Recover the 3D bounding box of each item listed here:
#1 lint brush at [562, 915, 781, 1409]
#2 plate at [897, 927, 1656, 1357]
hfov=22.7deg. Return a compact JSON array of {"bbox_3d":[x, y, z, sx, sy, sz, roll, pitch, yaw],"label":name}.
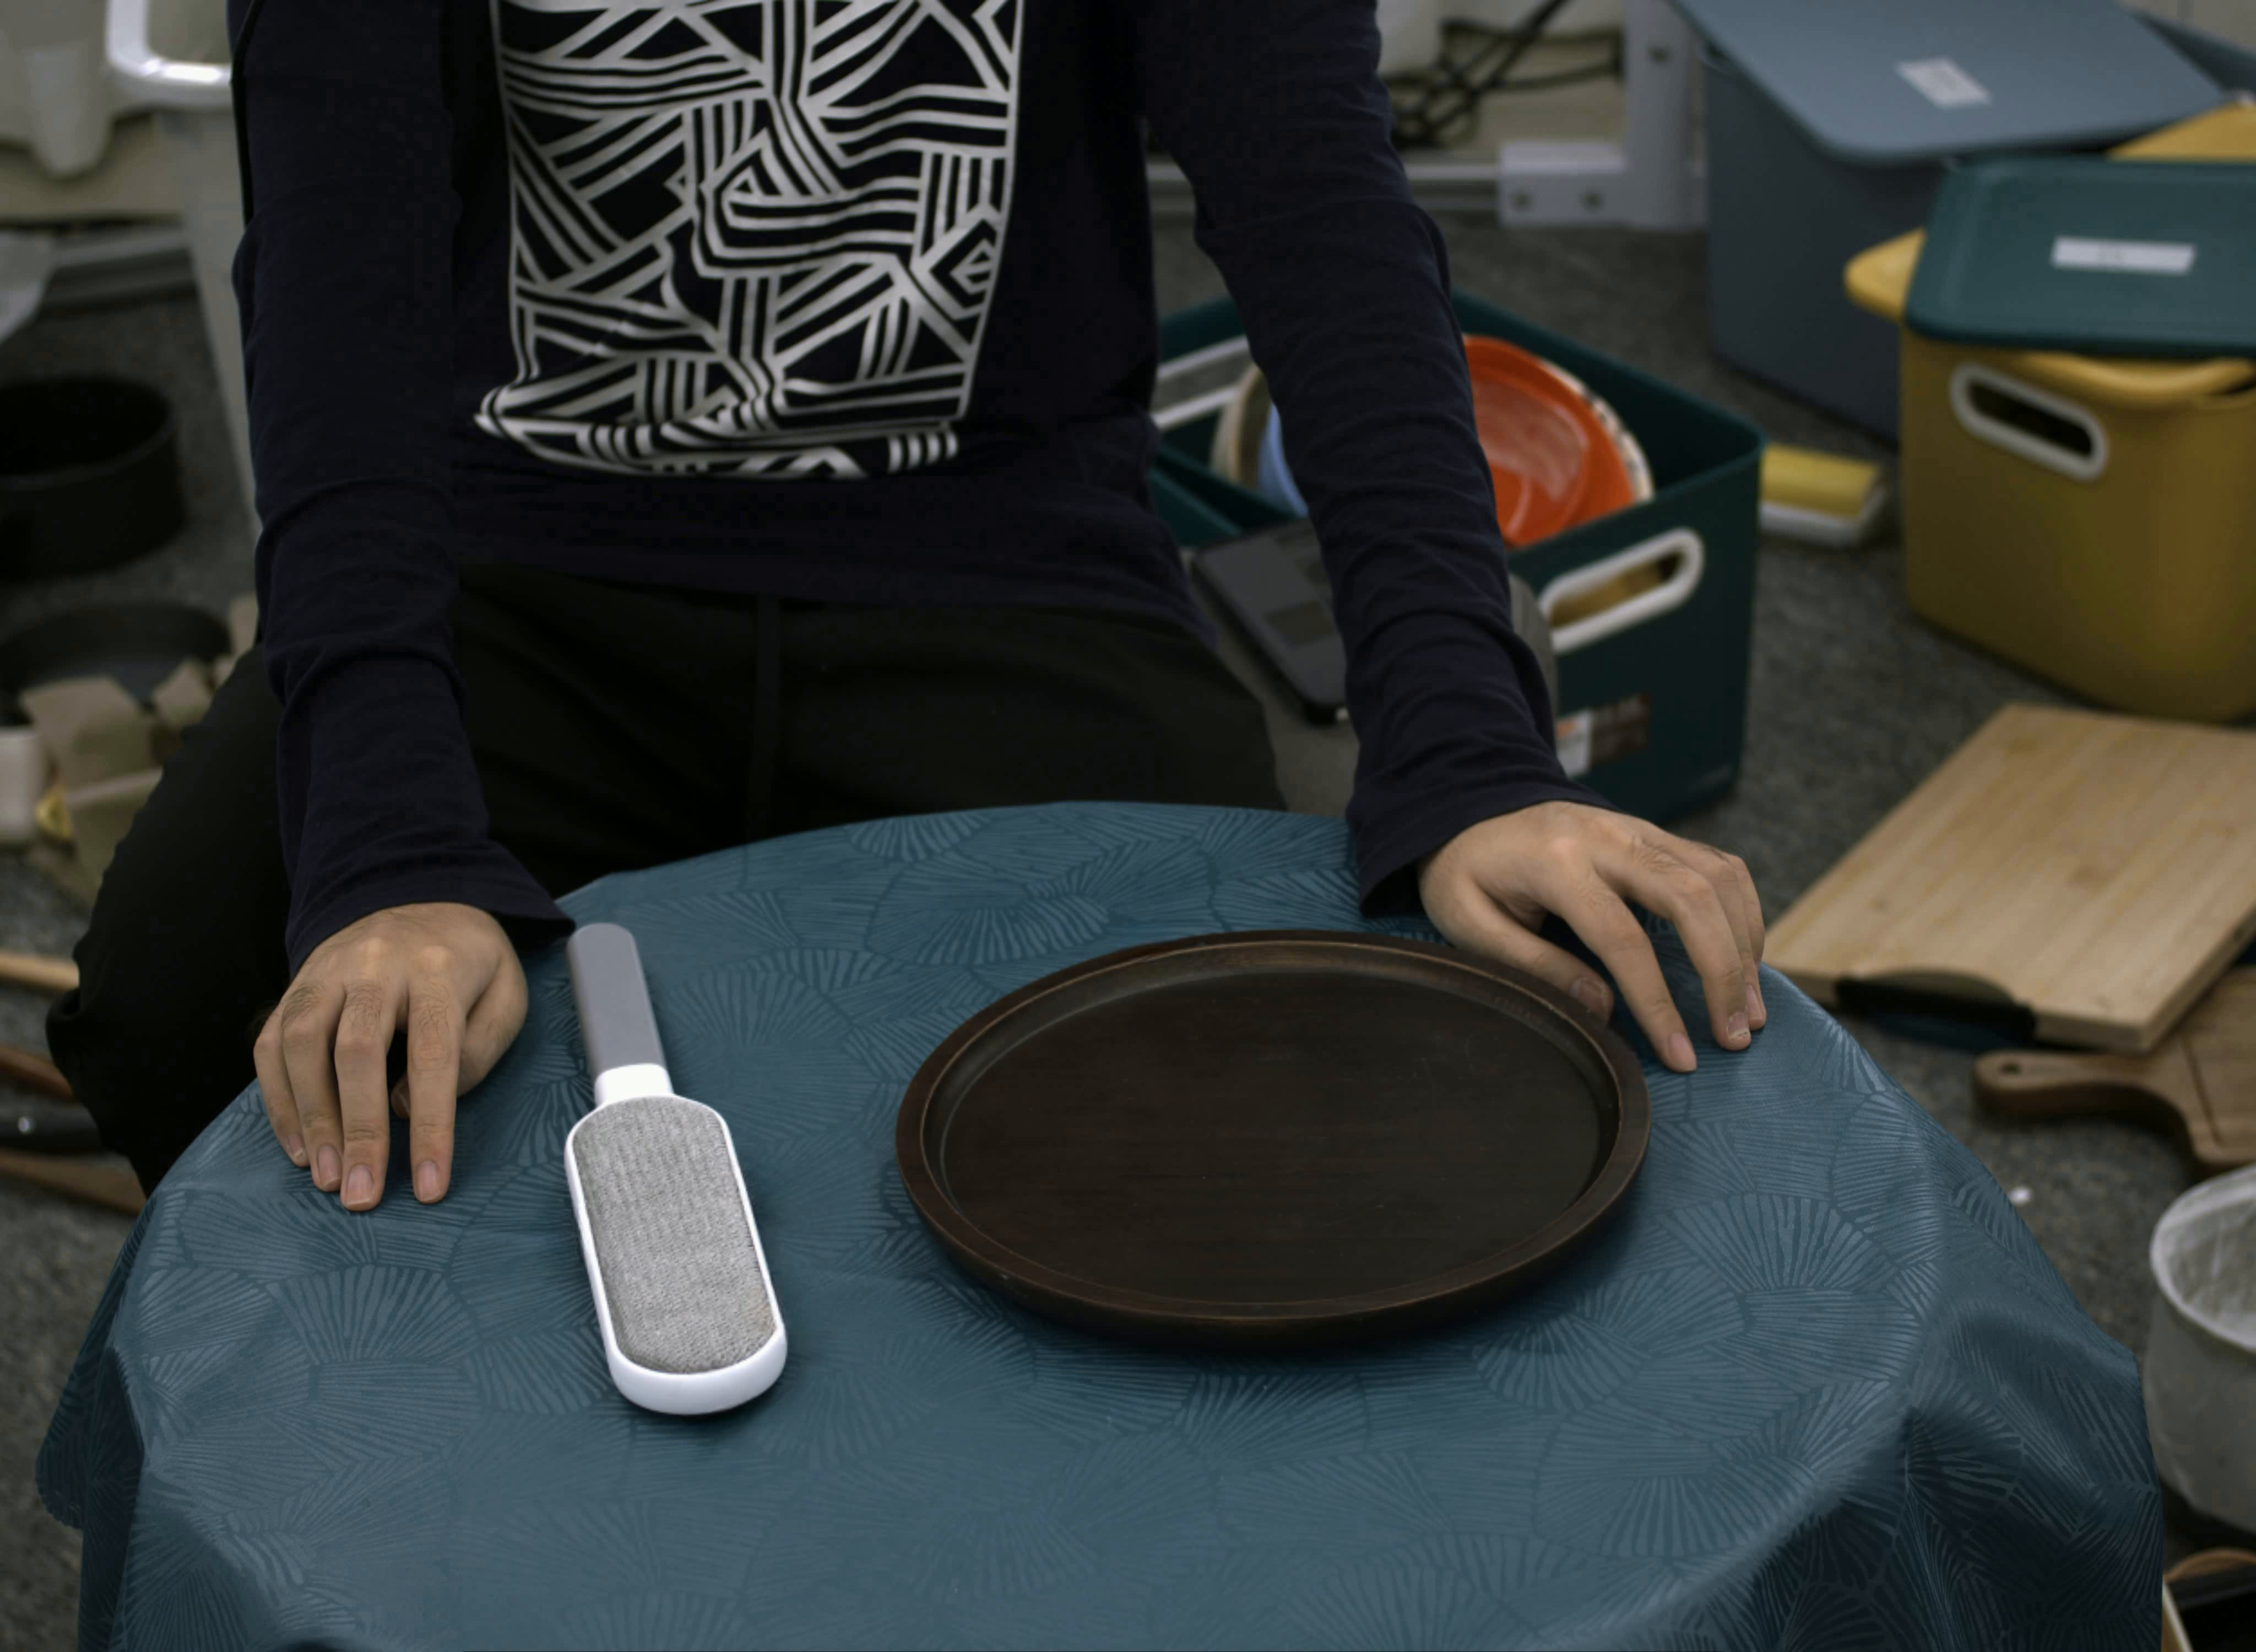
[{"bbox_3d":[-0.160,0.107,1.876,0.060,0.021,0.312,-12,28,-6],"label":"lint brush"},{"bbox_3d":[0.049,0.103,1.867,0.253,0.029,0.259,-1,28,1],"label":"plate"}]
